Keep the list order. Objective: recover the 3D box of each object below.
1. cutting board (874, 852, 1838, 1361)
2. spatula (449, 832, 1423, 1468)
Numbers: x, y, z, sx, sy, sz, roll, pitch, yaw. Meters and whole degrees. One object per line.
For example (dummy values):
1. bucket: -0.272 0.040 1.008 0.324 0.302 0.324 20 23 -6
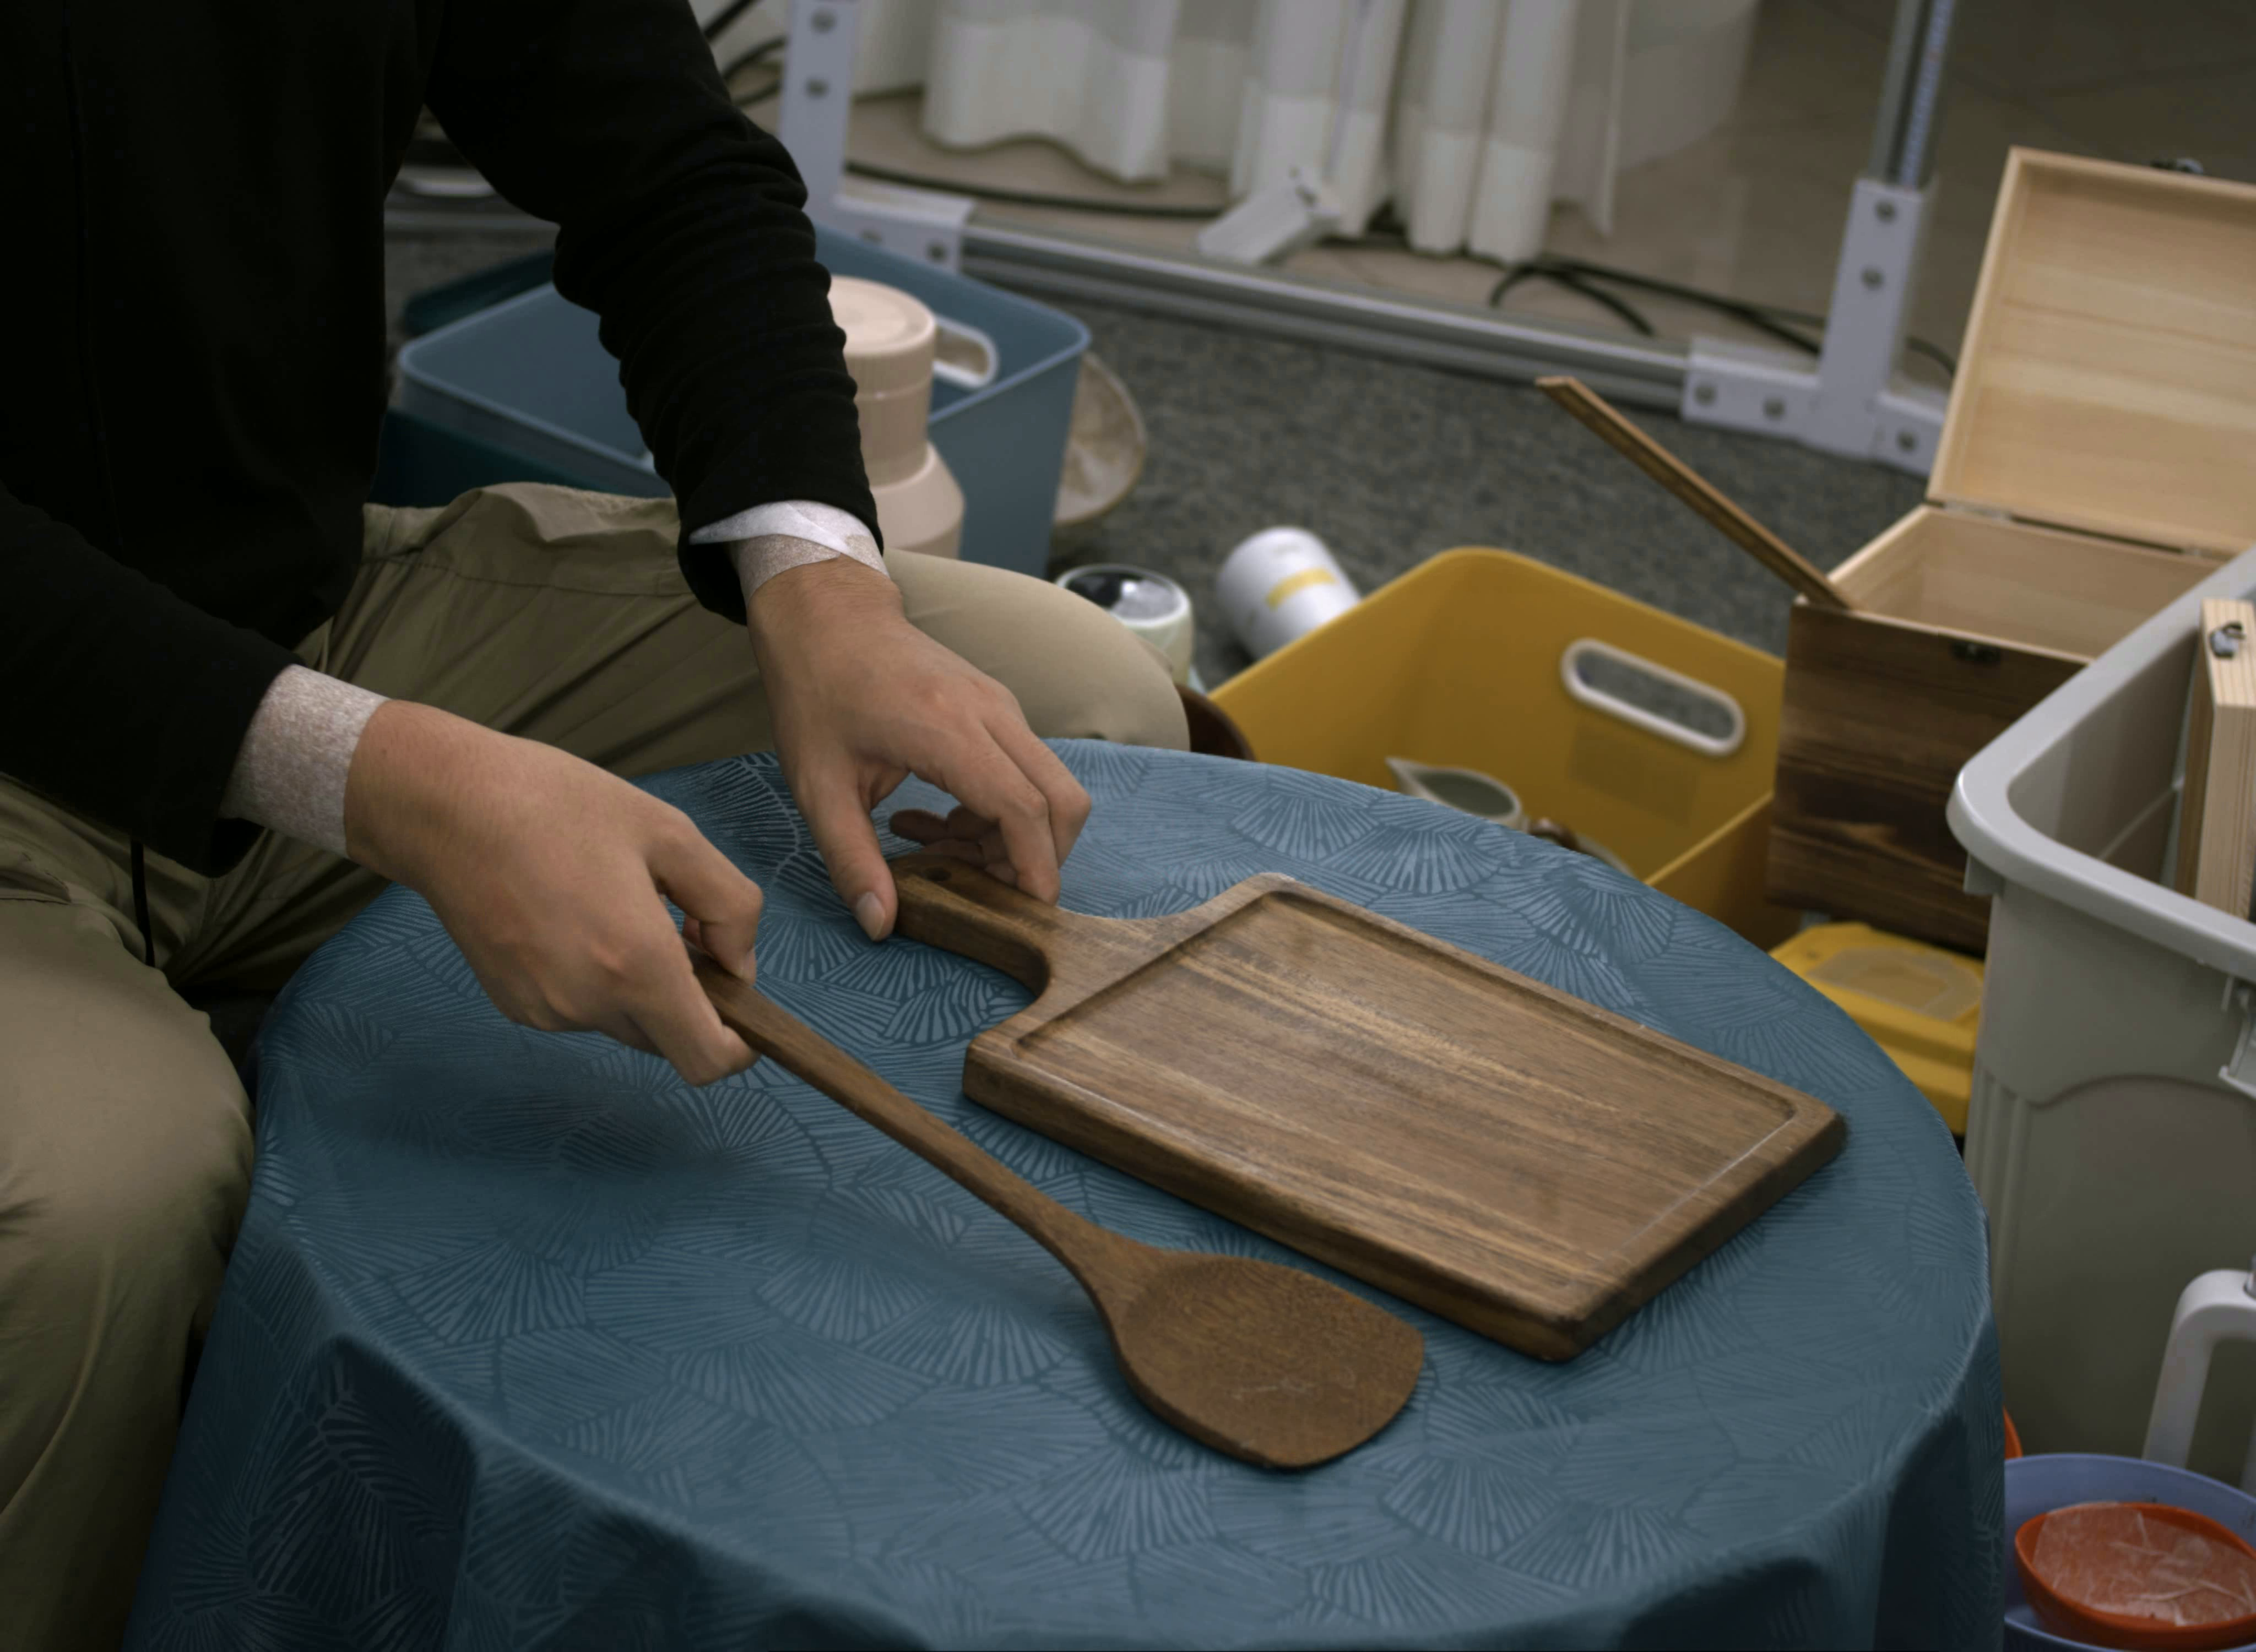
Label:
1. cutting board: 0.056 0.079 1.880 0.354 0.023 0.200 22 31 28
2. spatula: -0.074 0.097 1.753 0.388 0.016 0.096 32 38 20
